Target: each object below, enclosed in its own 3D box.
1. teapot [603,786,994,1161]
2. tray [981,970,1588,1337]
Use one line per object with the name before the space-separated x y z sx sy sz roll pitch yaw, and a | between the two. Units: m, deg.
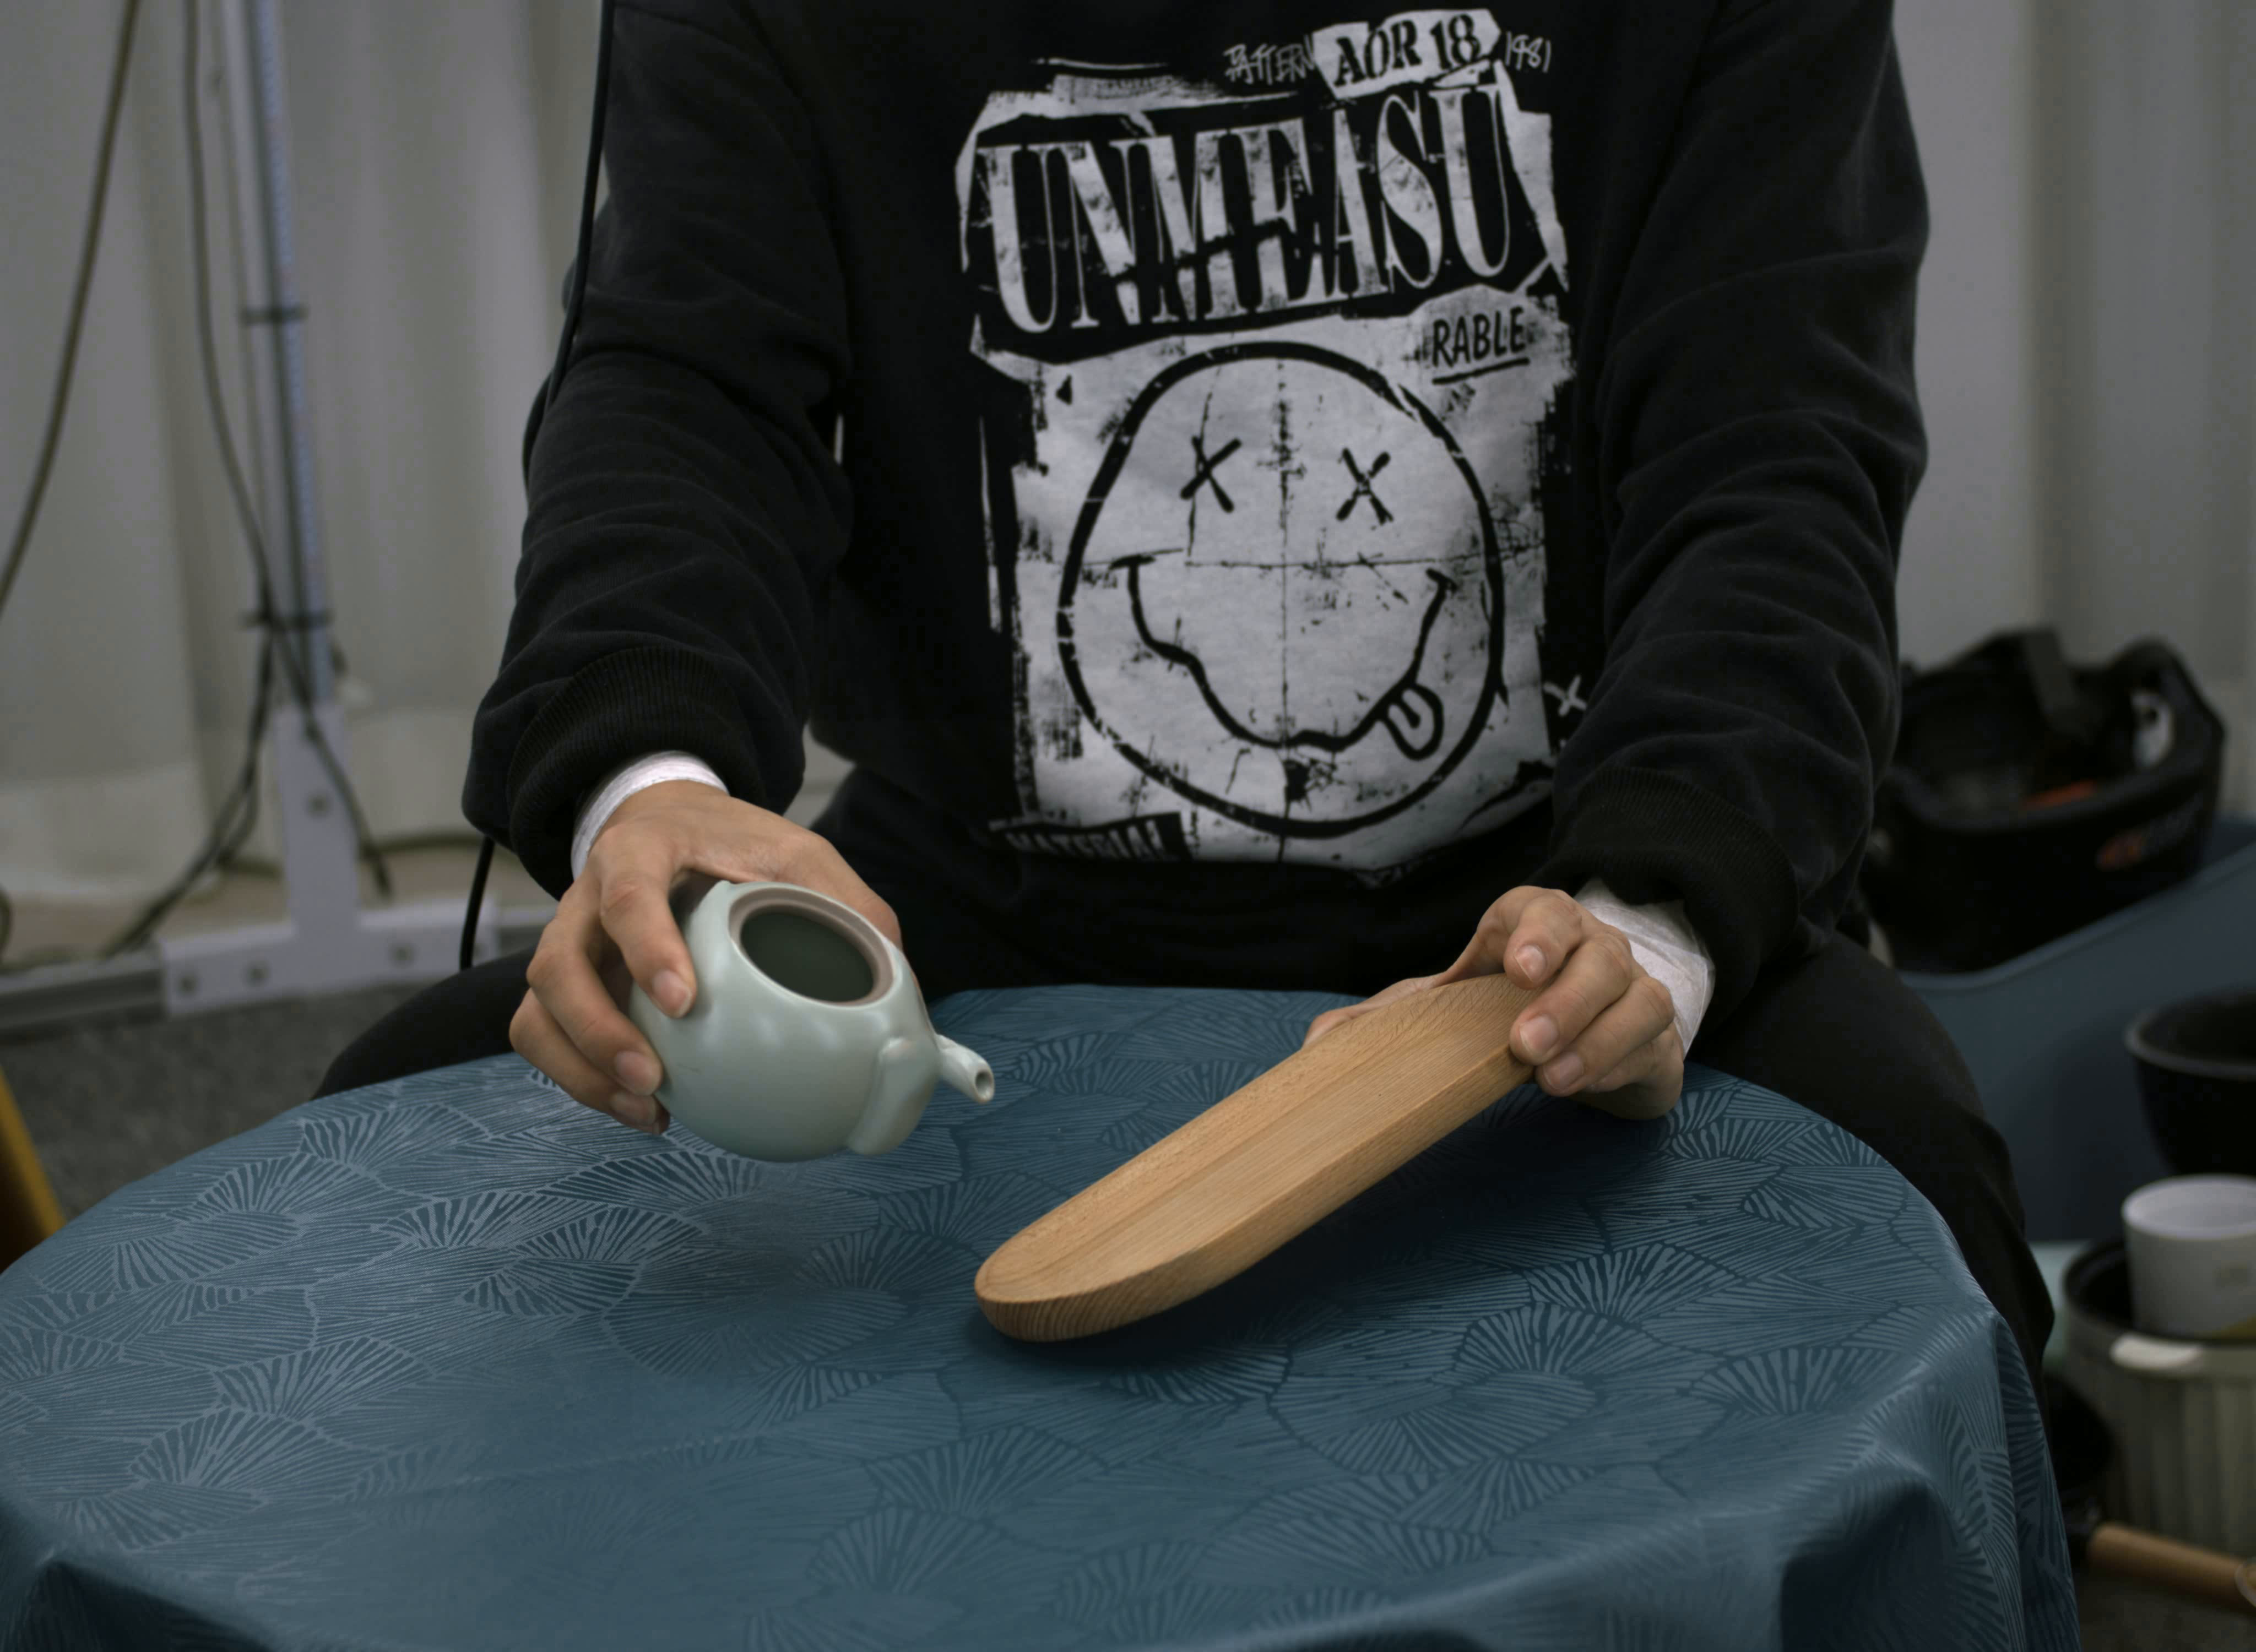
teapot | -0.106 0.057 1.631 0.145 0.074 0.088 42 32 19
tray | 0.050 0.096 1.638 0.231 0.020 0.102 -29 16 -40
